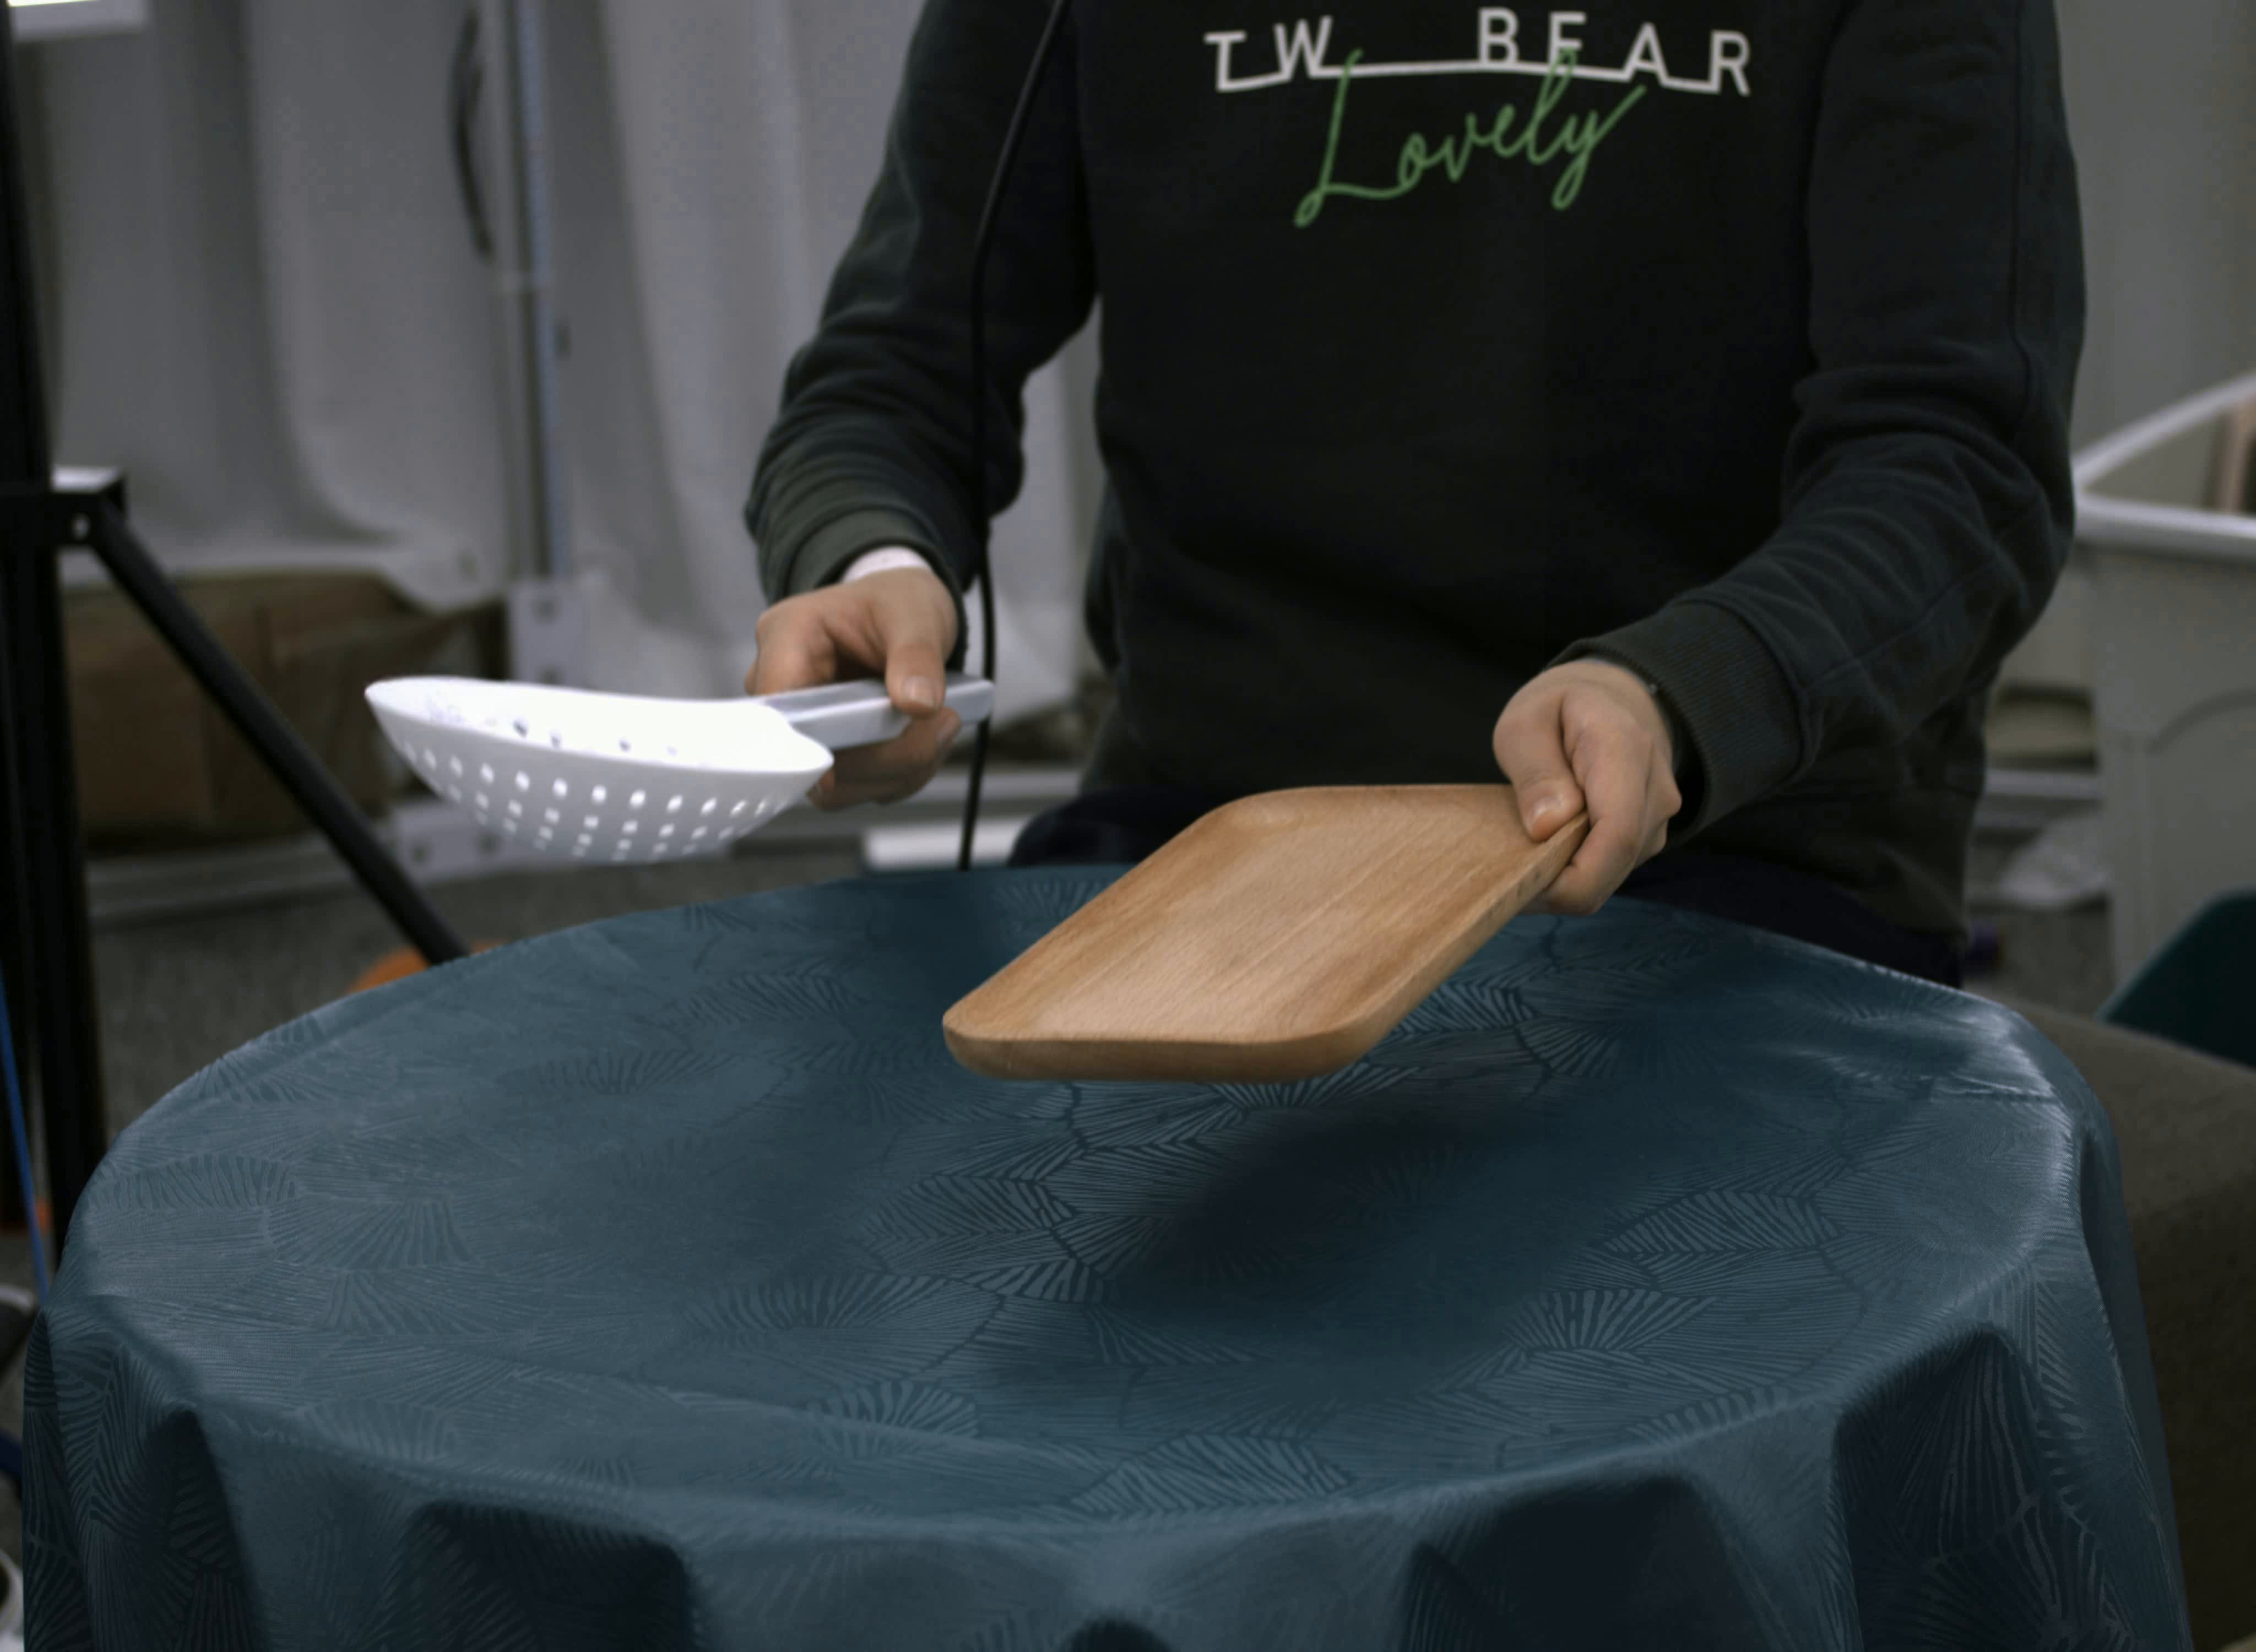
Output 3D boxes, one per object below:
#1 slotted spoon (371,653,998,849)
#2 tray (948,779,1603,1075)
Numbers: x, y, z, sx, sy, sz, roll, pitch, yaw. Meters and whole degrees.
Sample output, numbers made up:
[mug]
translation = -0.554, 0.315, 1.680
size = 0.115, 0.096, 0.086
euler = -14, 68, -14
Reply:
[slotted spoon]
translation = -0.116, -0.034, 1.644
size = 0.138, 0.046, 0.344
euler = 13, 13, 19
[tray]
translation = 0.047, 0.027, 1.539
size = 0.132, 0.023, 0.247
euler = 2, 16, 24
